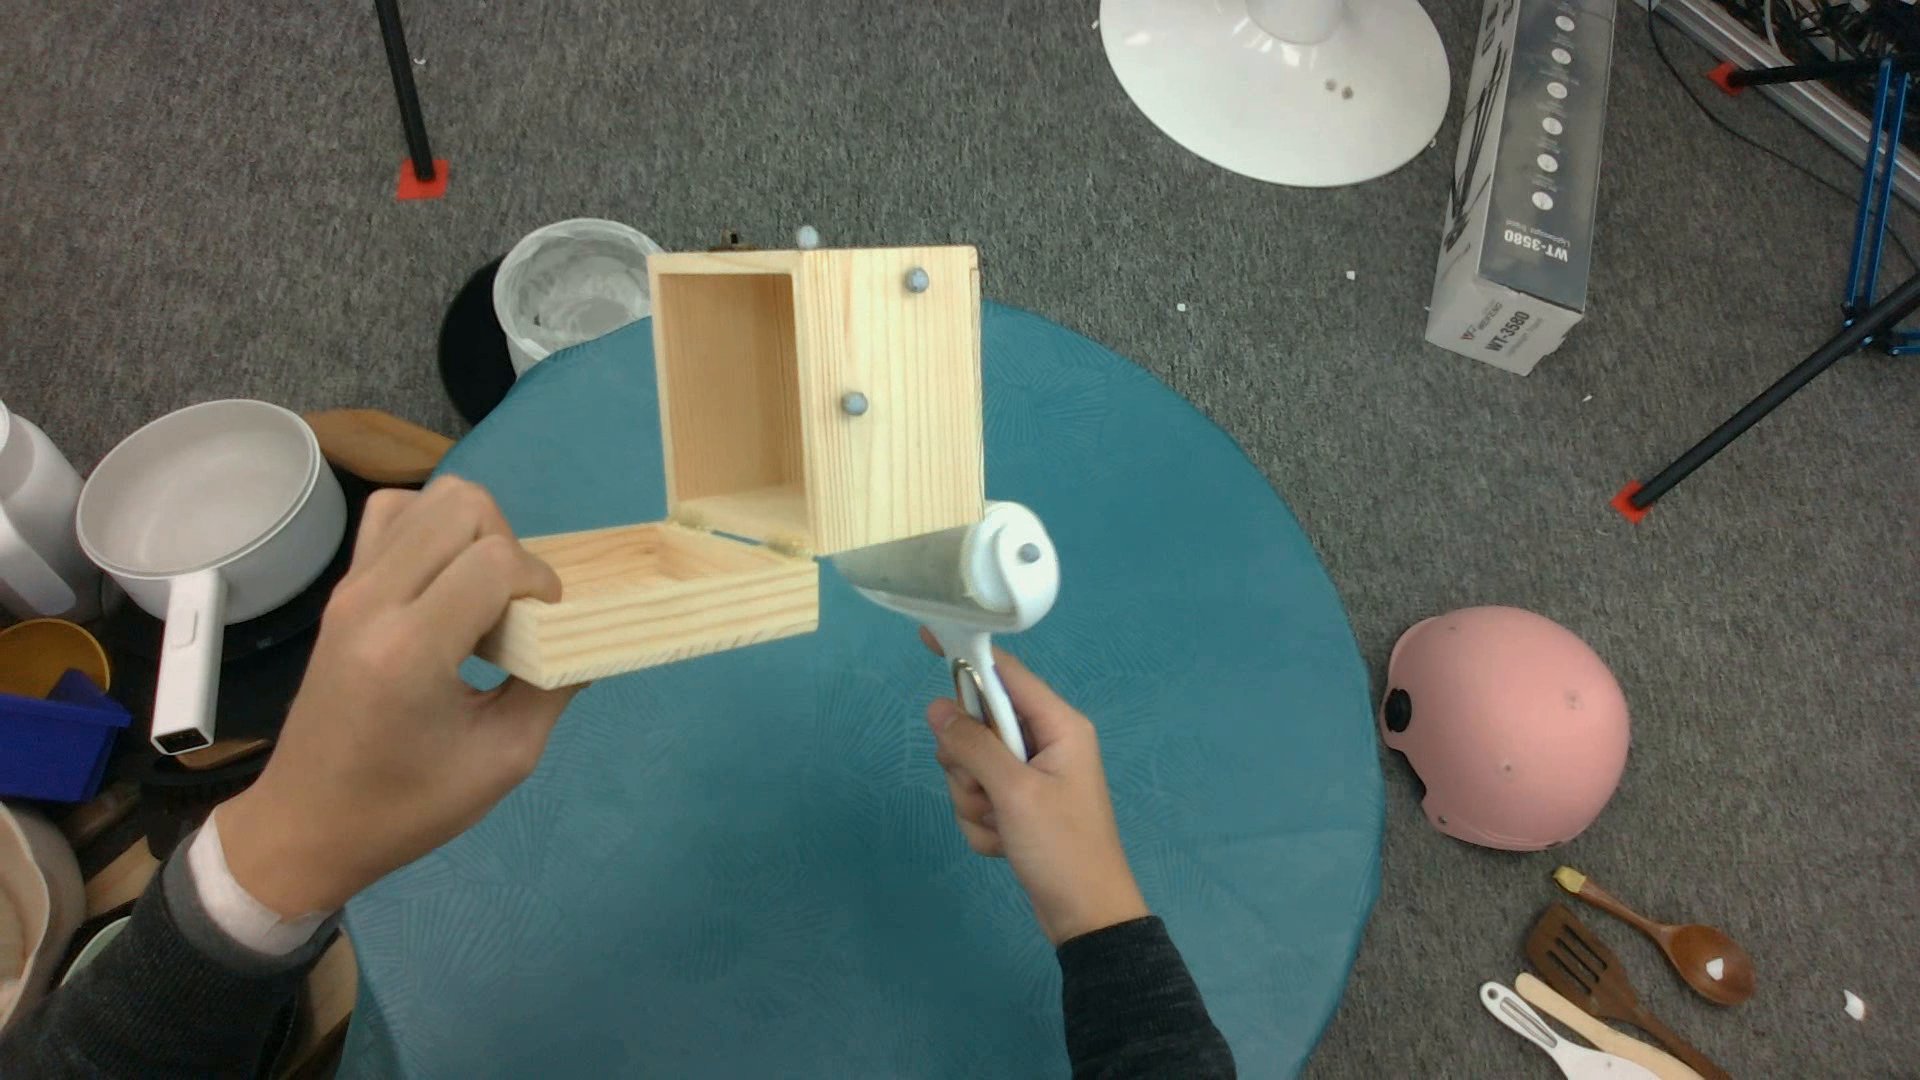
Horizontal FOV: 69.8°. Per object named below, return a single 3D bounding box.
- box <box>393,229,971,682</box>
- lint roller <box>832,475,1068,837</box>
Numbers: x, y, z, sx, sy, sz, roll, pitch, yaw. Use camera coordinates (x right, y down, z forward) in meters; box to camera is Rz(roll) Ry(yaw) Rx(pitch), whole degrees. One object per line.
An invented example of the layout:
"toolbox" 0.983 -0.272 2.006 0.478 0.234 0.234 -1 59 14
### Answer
"box" -0.097 -0.041 0.486 0.185 0.102 0.133 -13 107 -42
"lint roller" 0.013 0.052 0.626 0.050 0.132 0.180 -37 115 -34
